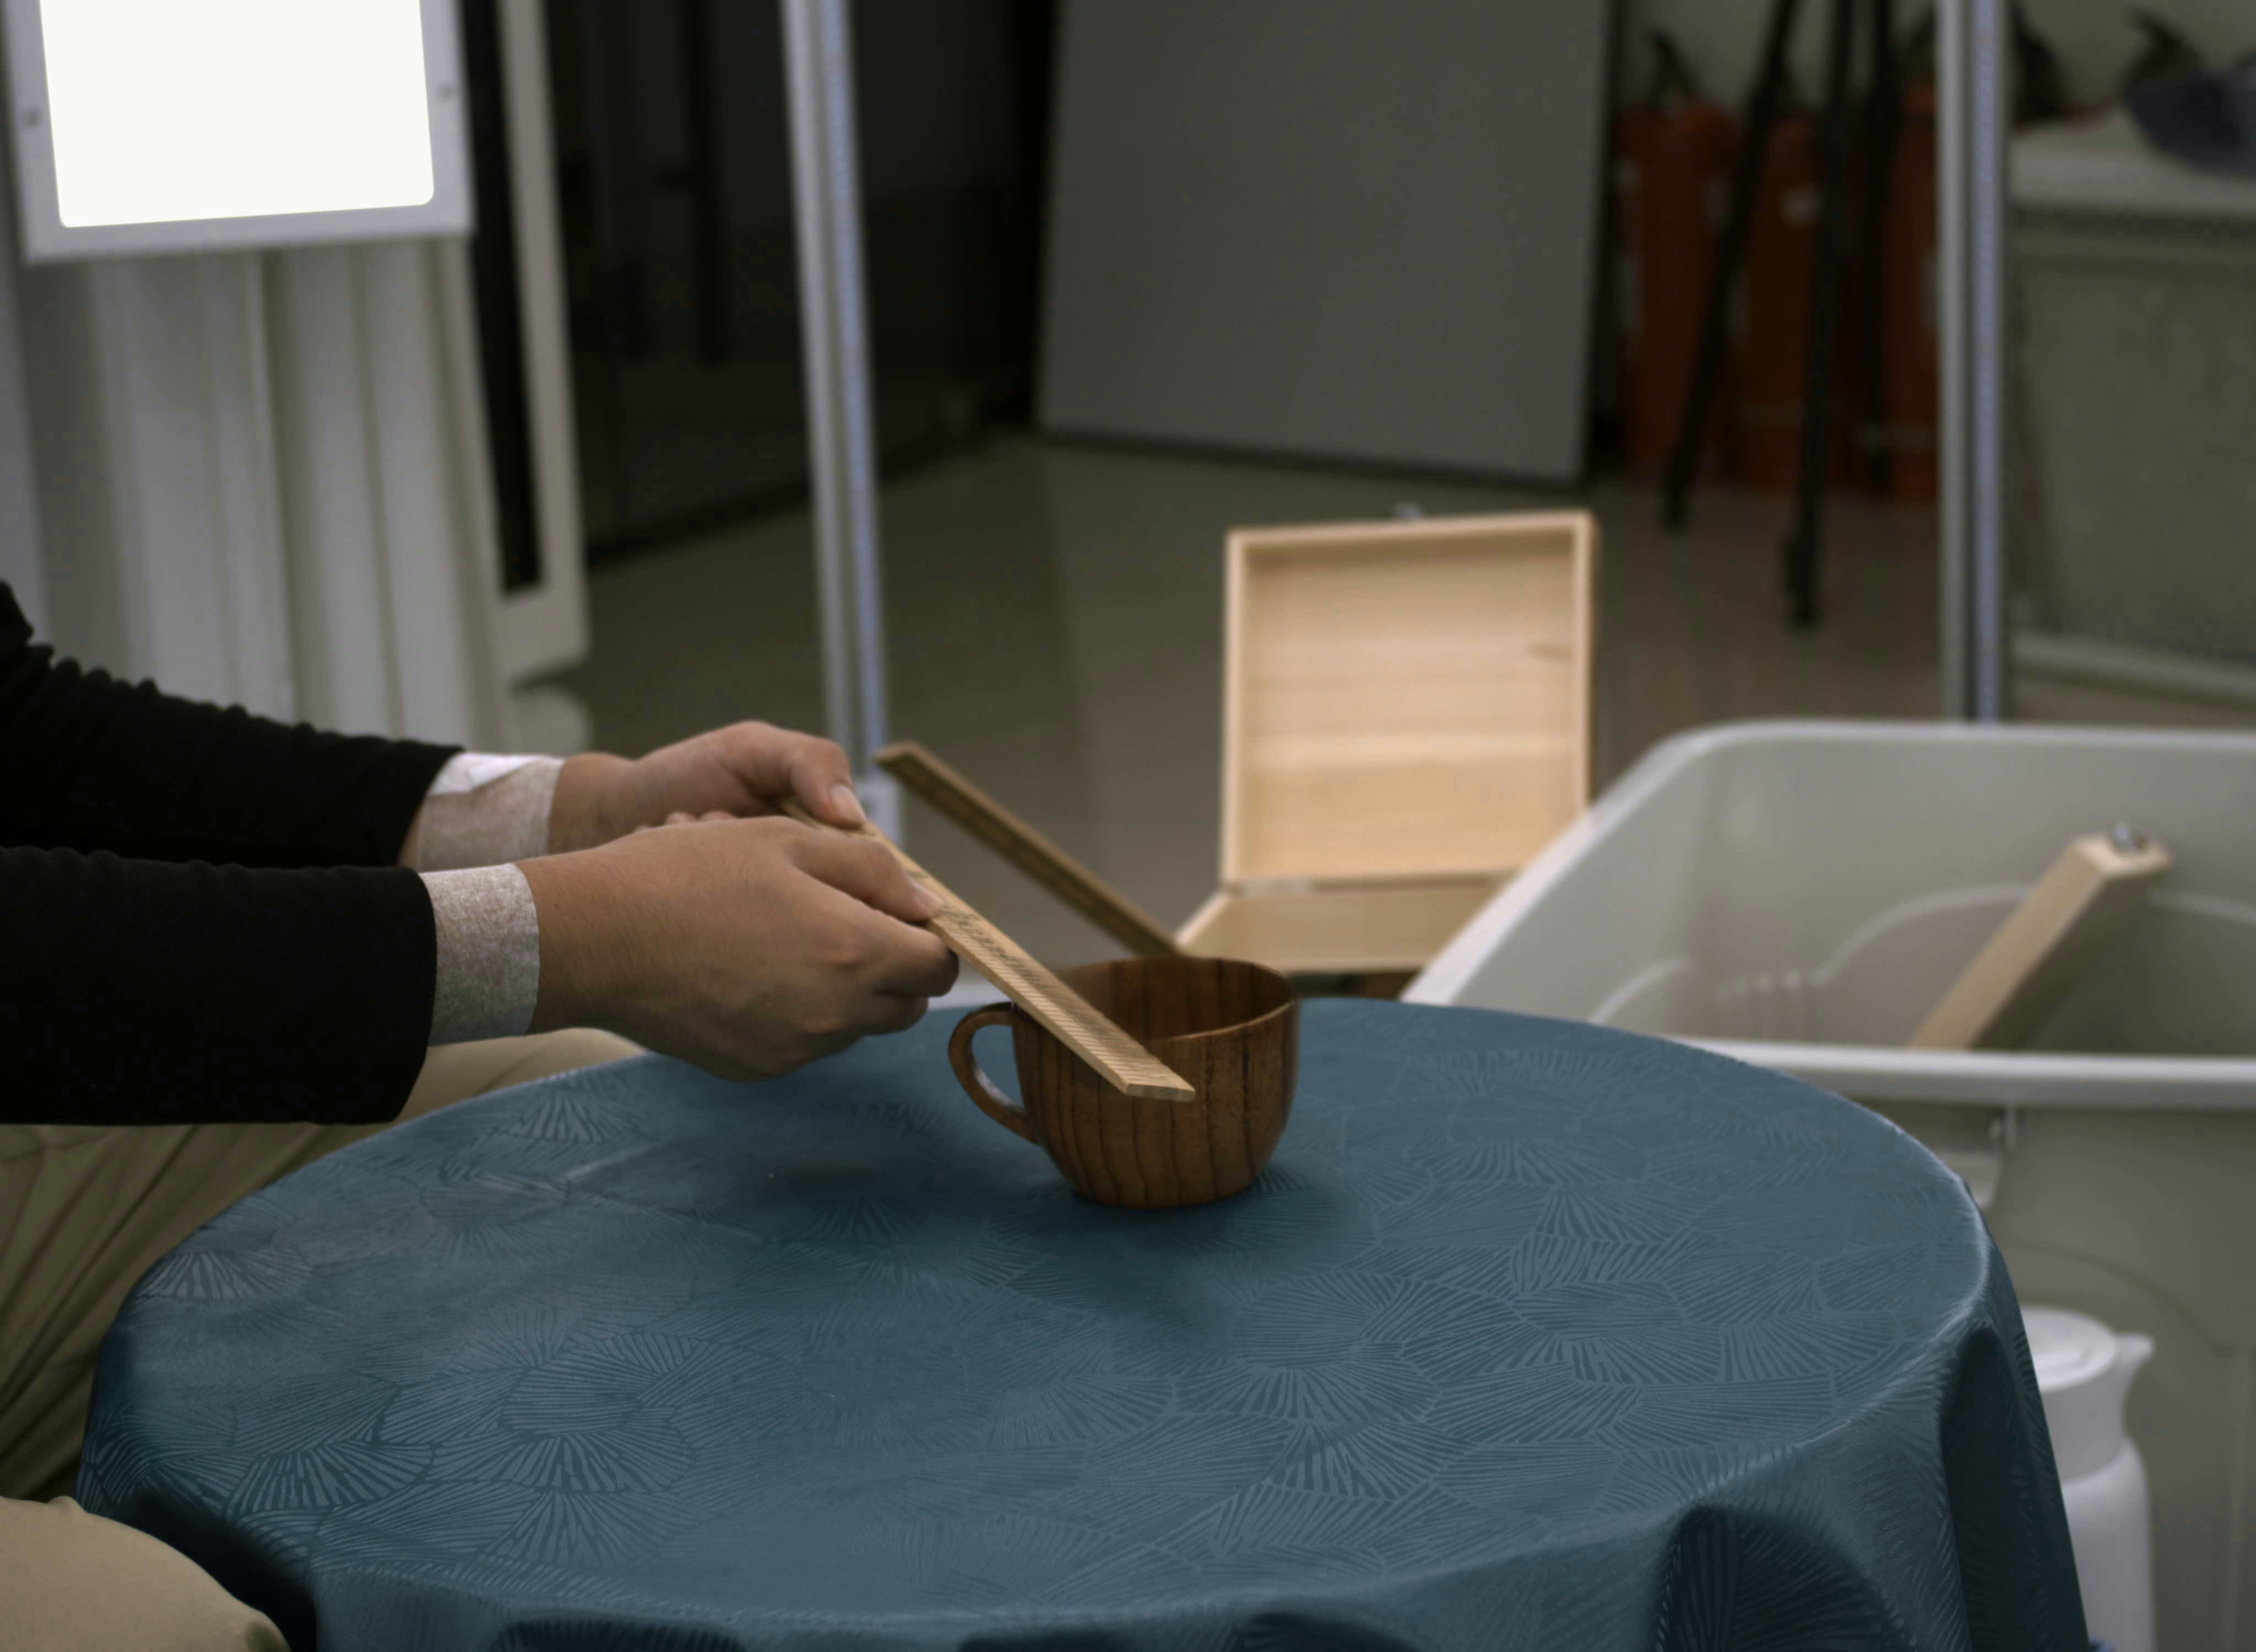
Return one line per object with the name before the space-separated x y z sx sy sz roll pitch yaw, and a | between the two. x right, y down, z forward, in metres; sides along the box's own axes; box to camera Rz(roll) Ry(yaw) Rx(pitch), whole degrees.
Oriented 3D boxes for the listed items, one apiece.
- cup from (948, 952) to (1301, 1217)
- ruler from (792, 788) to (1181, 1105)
cup | 0.000 0.087 1.775 0.119 0.068 0.095 -2 15 14
ruler | -0.052 0.034 1.810 0.027 0.022 0.335 13 10 -24
